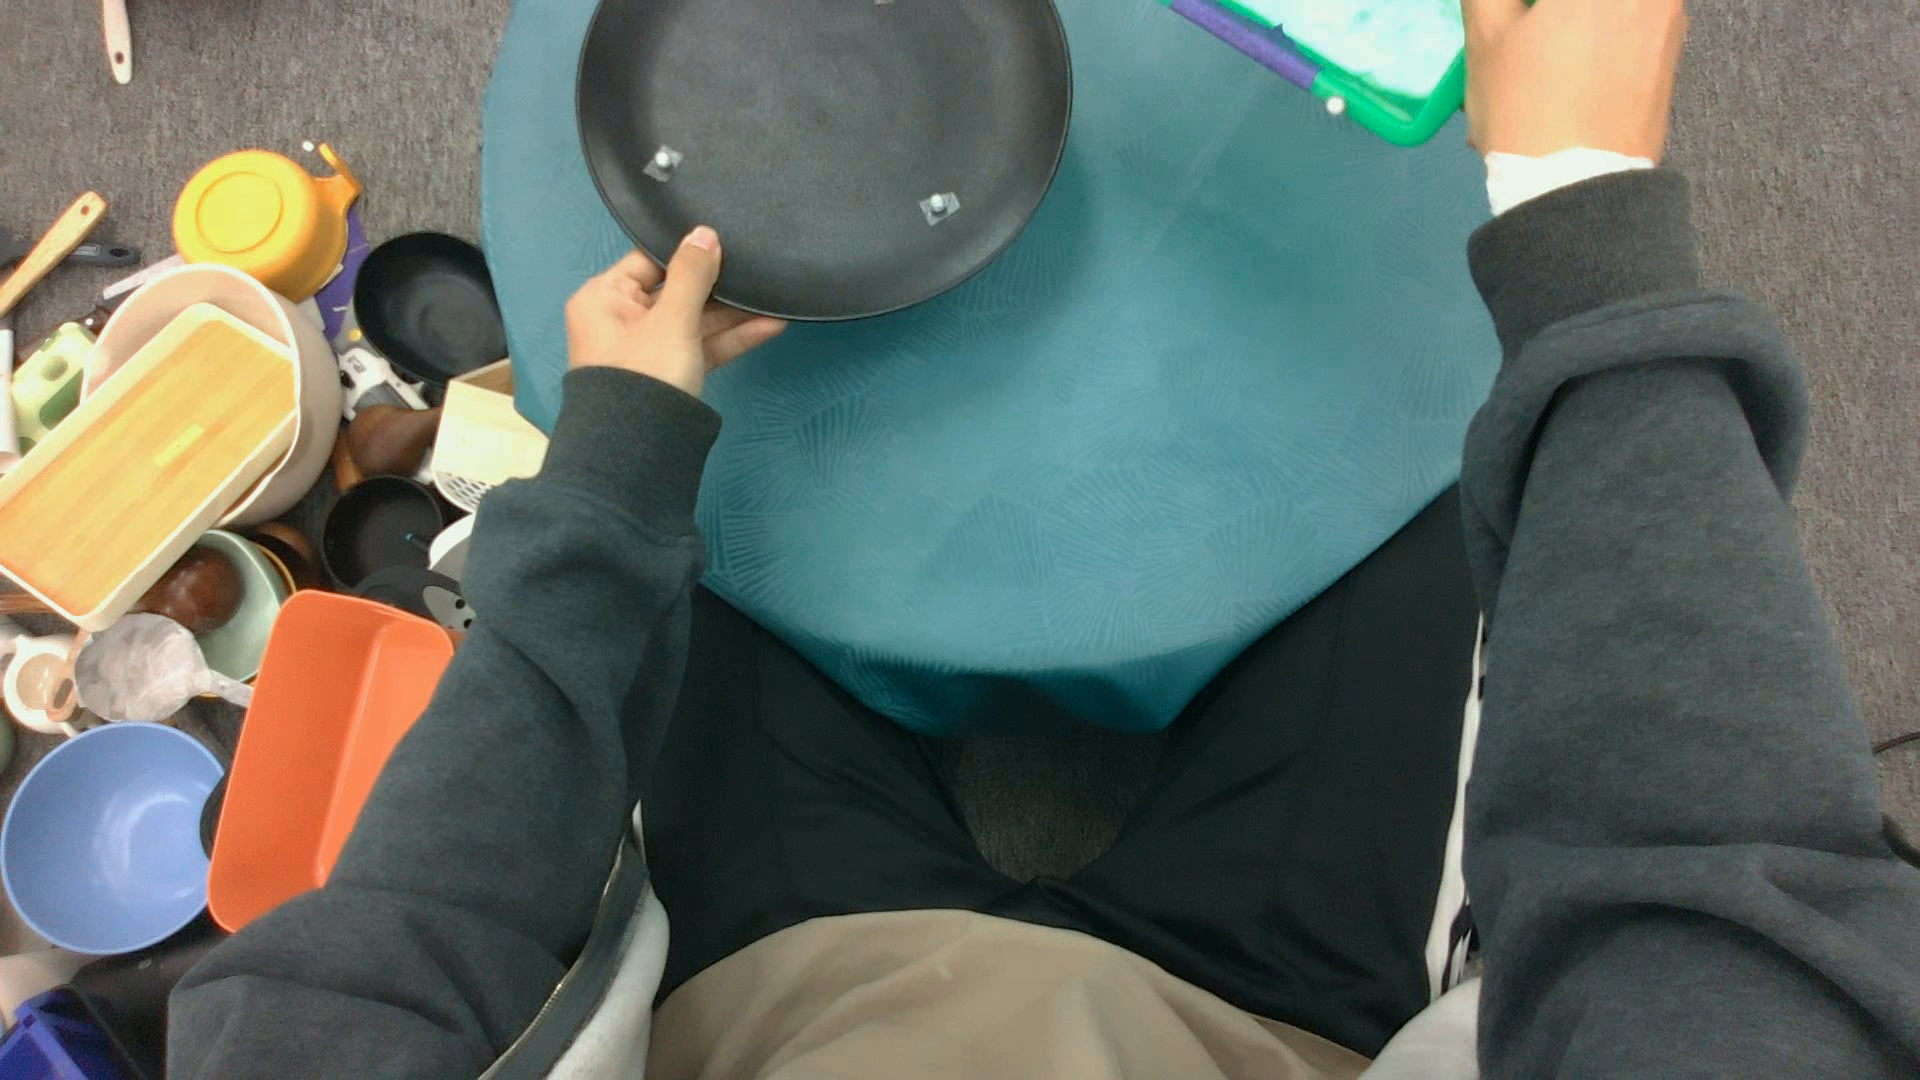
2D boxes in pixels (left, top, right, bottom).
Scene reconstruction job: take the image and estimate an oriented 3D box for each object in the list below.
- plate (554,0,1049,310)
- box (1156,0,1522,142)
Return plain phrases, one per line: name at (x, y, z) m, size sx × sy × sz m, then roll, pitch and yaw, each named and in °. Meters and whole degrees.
plate at (-0.077, -0.225, 0.687) m, size 0.244 × 0.023 × 0.245 m, roll 0°, pitch 77°, yaw -1°
box at (0.150, -0.280, 0.593) m, size 0.210 × 0.065 × 0.138 m, roll 36°, pitch 116°, yaw 11°
